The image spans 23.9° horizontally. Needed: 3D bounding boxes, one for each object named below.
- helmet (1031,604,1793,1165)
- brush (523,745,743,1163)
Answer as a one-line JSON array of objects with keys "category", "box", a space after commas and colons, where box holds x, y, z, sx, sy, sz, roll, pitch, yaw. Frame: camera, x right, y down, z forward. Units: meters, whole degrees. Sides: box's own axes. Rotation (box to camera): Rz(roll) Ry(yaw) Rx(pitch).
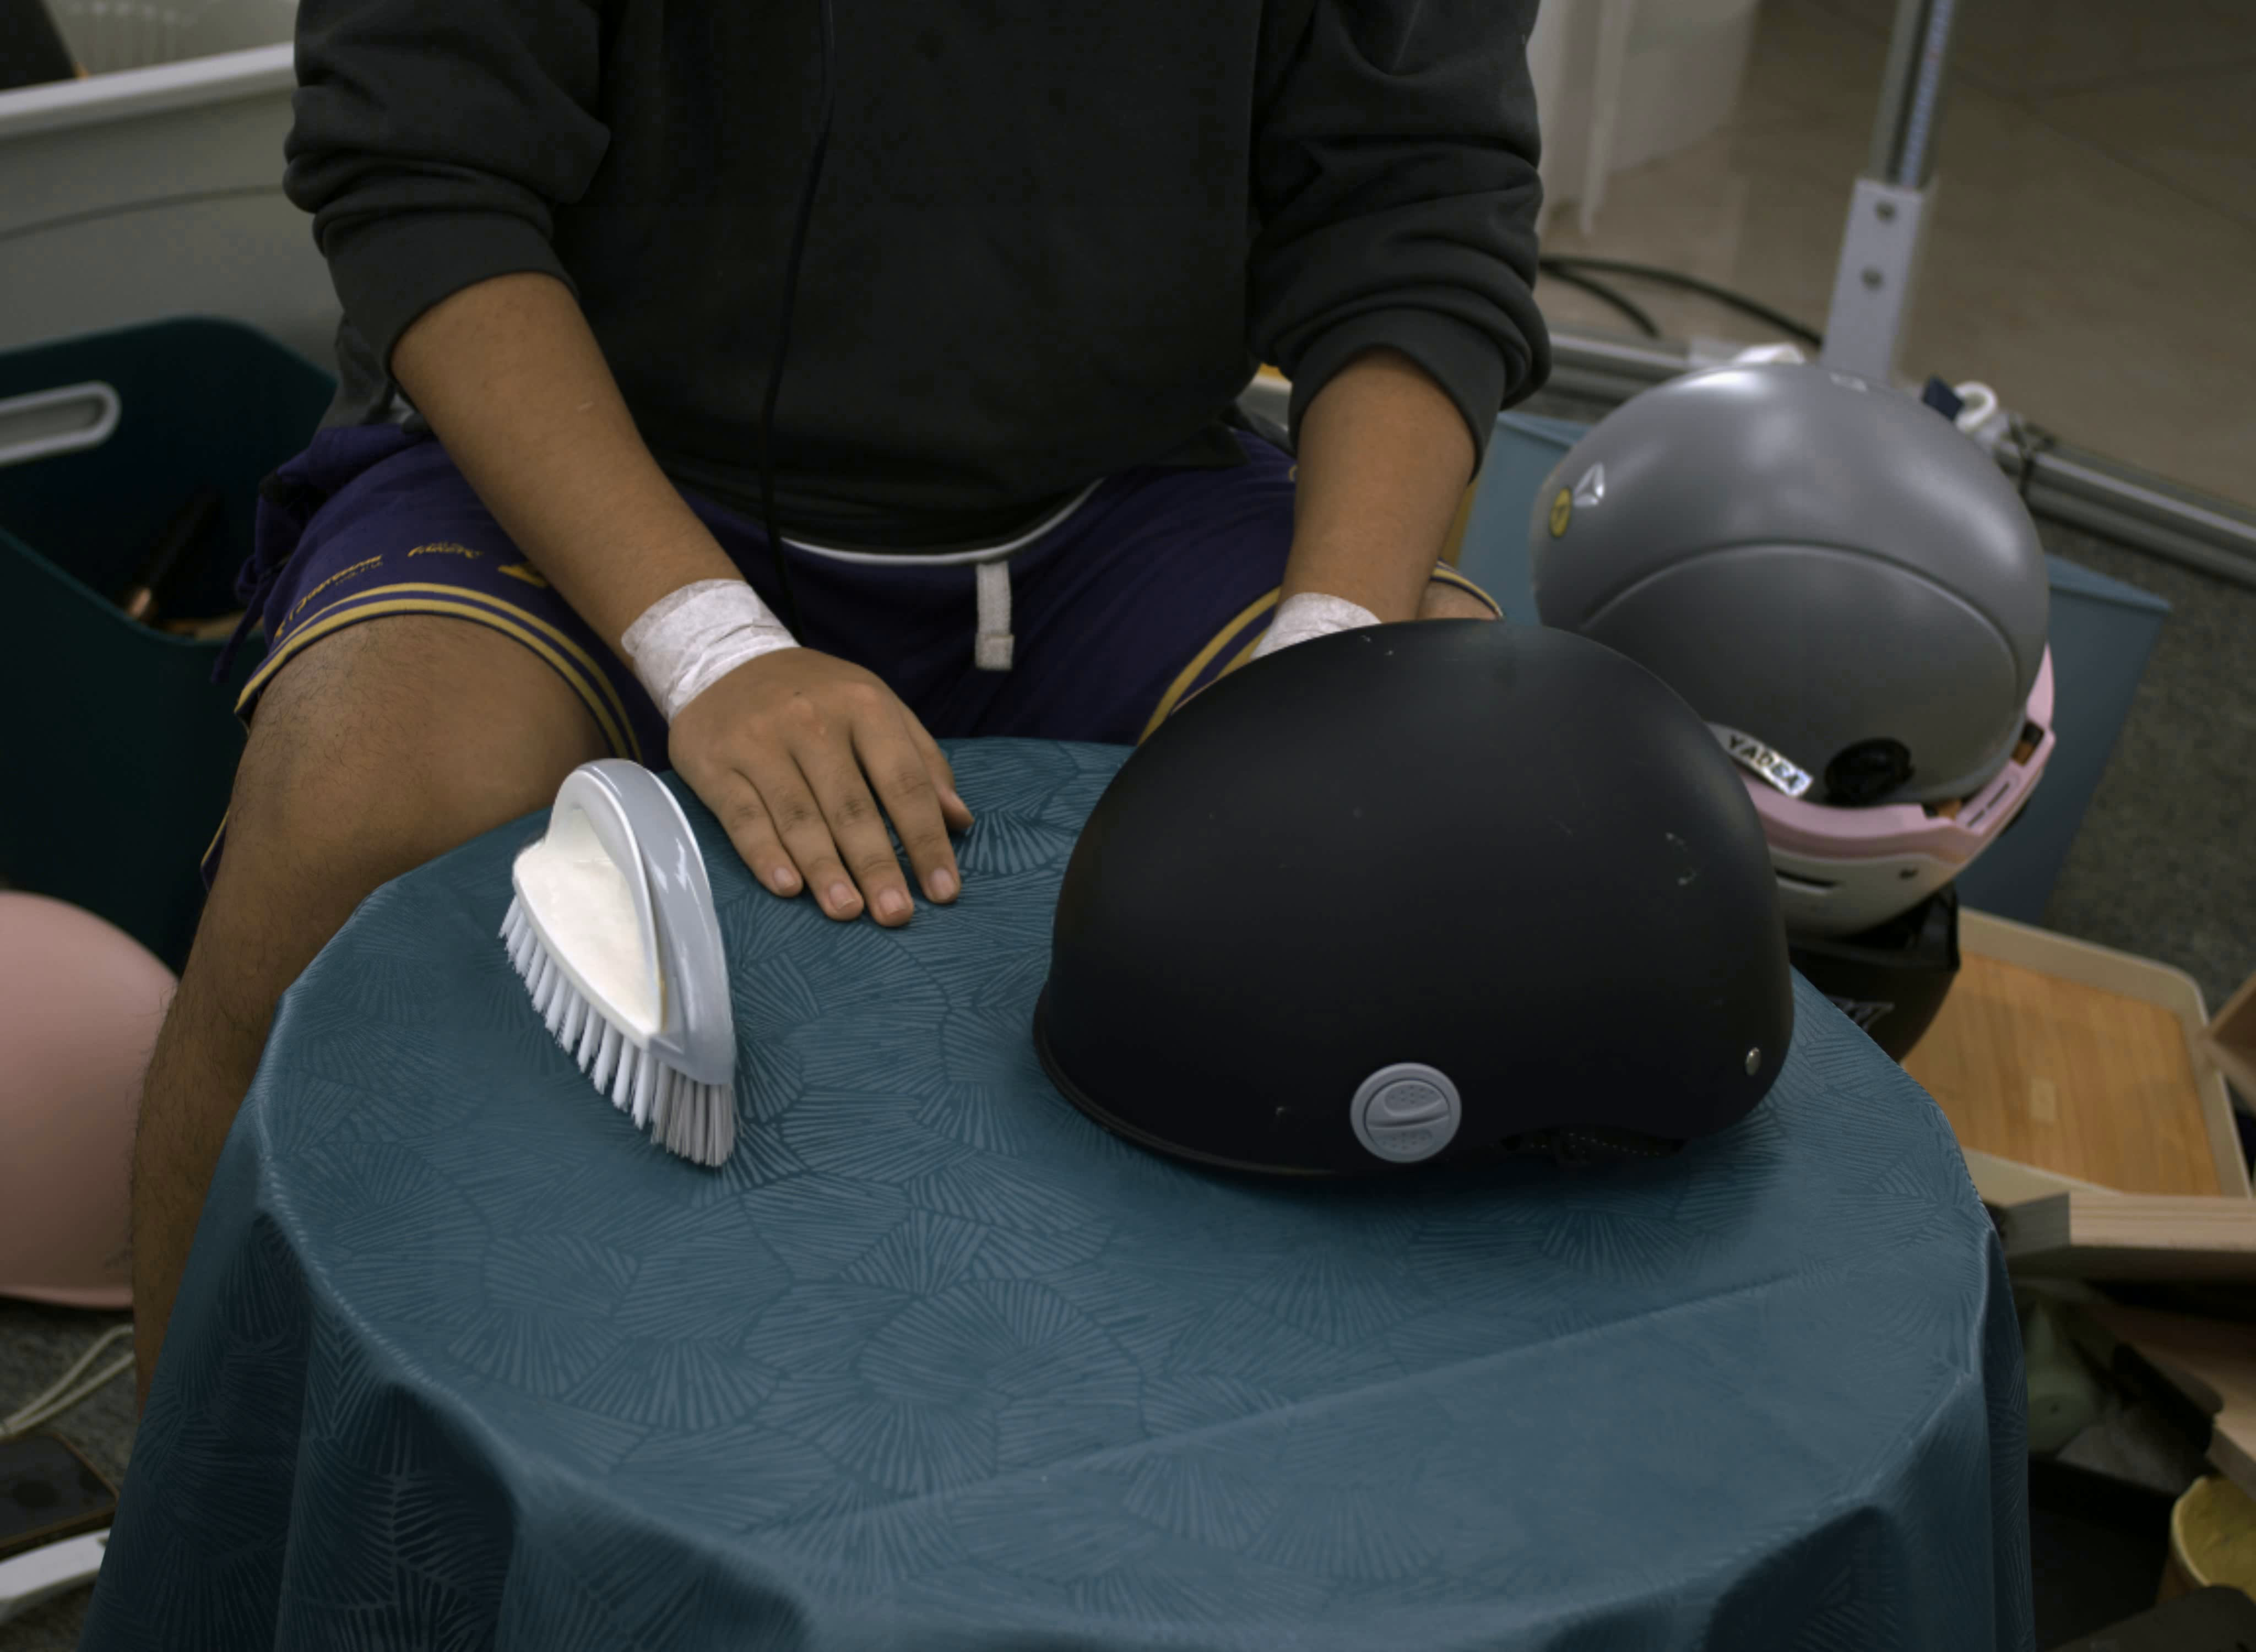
[{"category": "helmet", "box": [0.105, 0.010, 1.873, 0.271, 0.166, 0.232, -2, 27, -13]}, {"category": "brush", "box": [-0.163, 0.036, 1.836, 0.061, 0.094, 0.177, -5, 31, -20]}]
